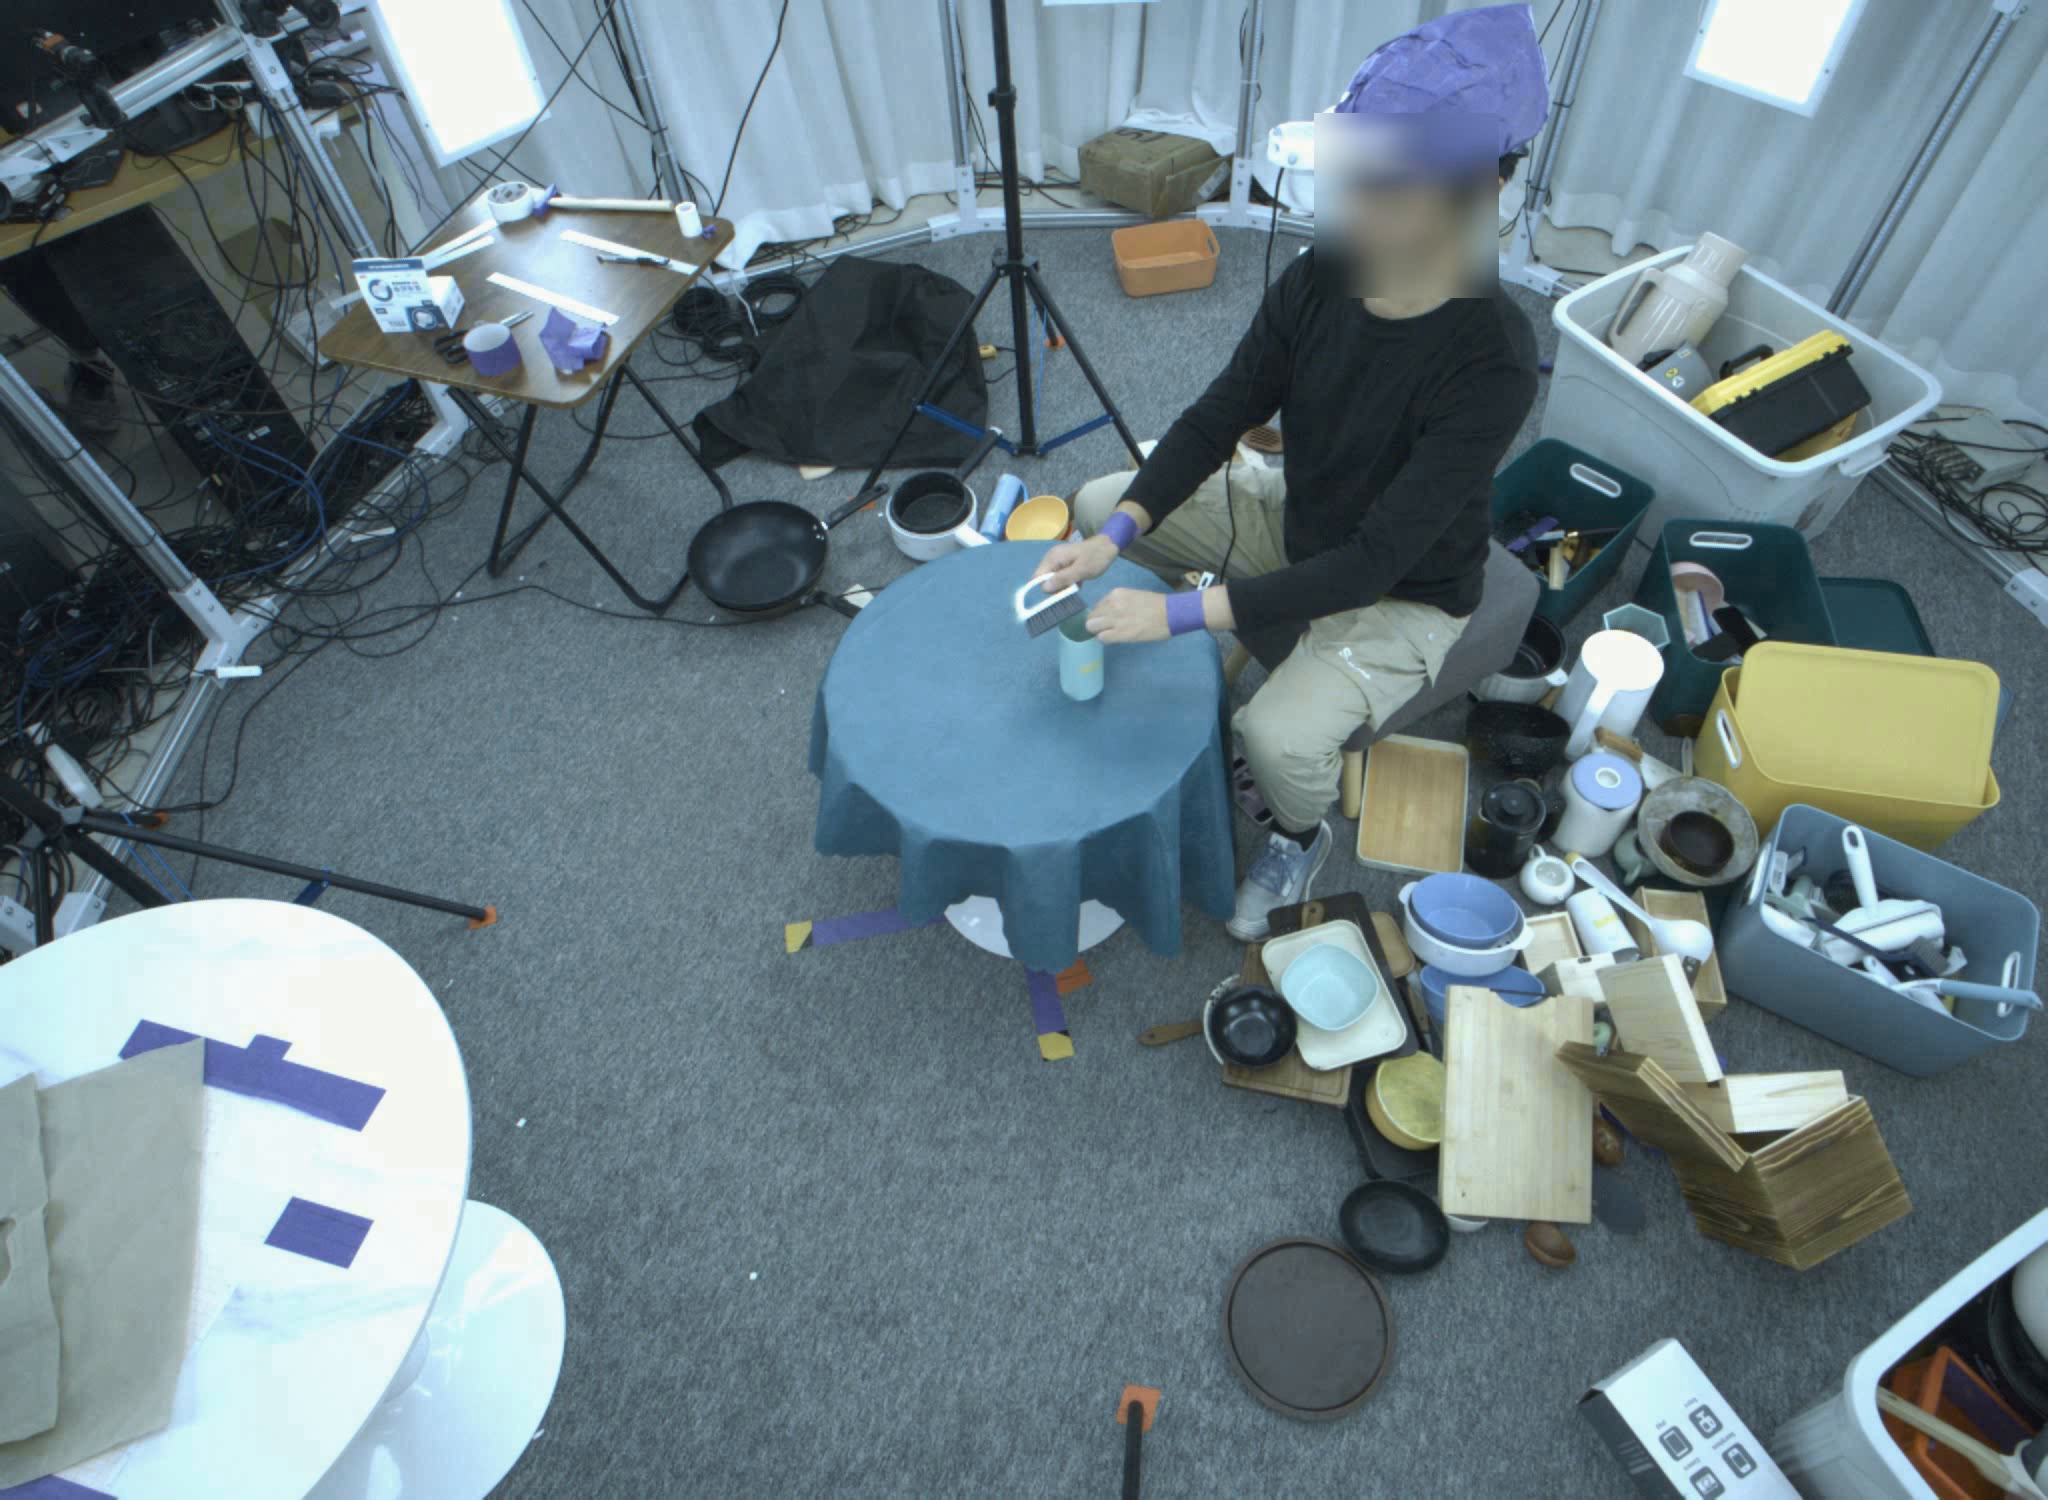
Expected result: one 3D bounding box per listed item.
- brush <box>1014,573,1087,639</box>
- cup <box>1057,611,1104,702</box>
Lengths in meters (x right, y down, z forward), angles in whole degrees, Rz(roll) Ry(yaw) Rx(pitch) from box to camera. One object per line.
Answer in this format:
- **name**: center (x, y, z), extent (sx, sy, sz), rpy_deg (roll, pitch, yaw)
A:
- **brush**: center (0.031, -0.214, 1.764), extent (0.100, 0.050, 0.072), rpy_deg (-31, 93, -14)
- **cup**: center (0.084, -0.137, 1.808), extent (0.066, 0.134, 0.066), rpy_deg (-1, 55, 3)
